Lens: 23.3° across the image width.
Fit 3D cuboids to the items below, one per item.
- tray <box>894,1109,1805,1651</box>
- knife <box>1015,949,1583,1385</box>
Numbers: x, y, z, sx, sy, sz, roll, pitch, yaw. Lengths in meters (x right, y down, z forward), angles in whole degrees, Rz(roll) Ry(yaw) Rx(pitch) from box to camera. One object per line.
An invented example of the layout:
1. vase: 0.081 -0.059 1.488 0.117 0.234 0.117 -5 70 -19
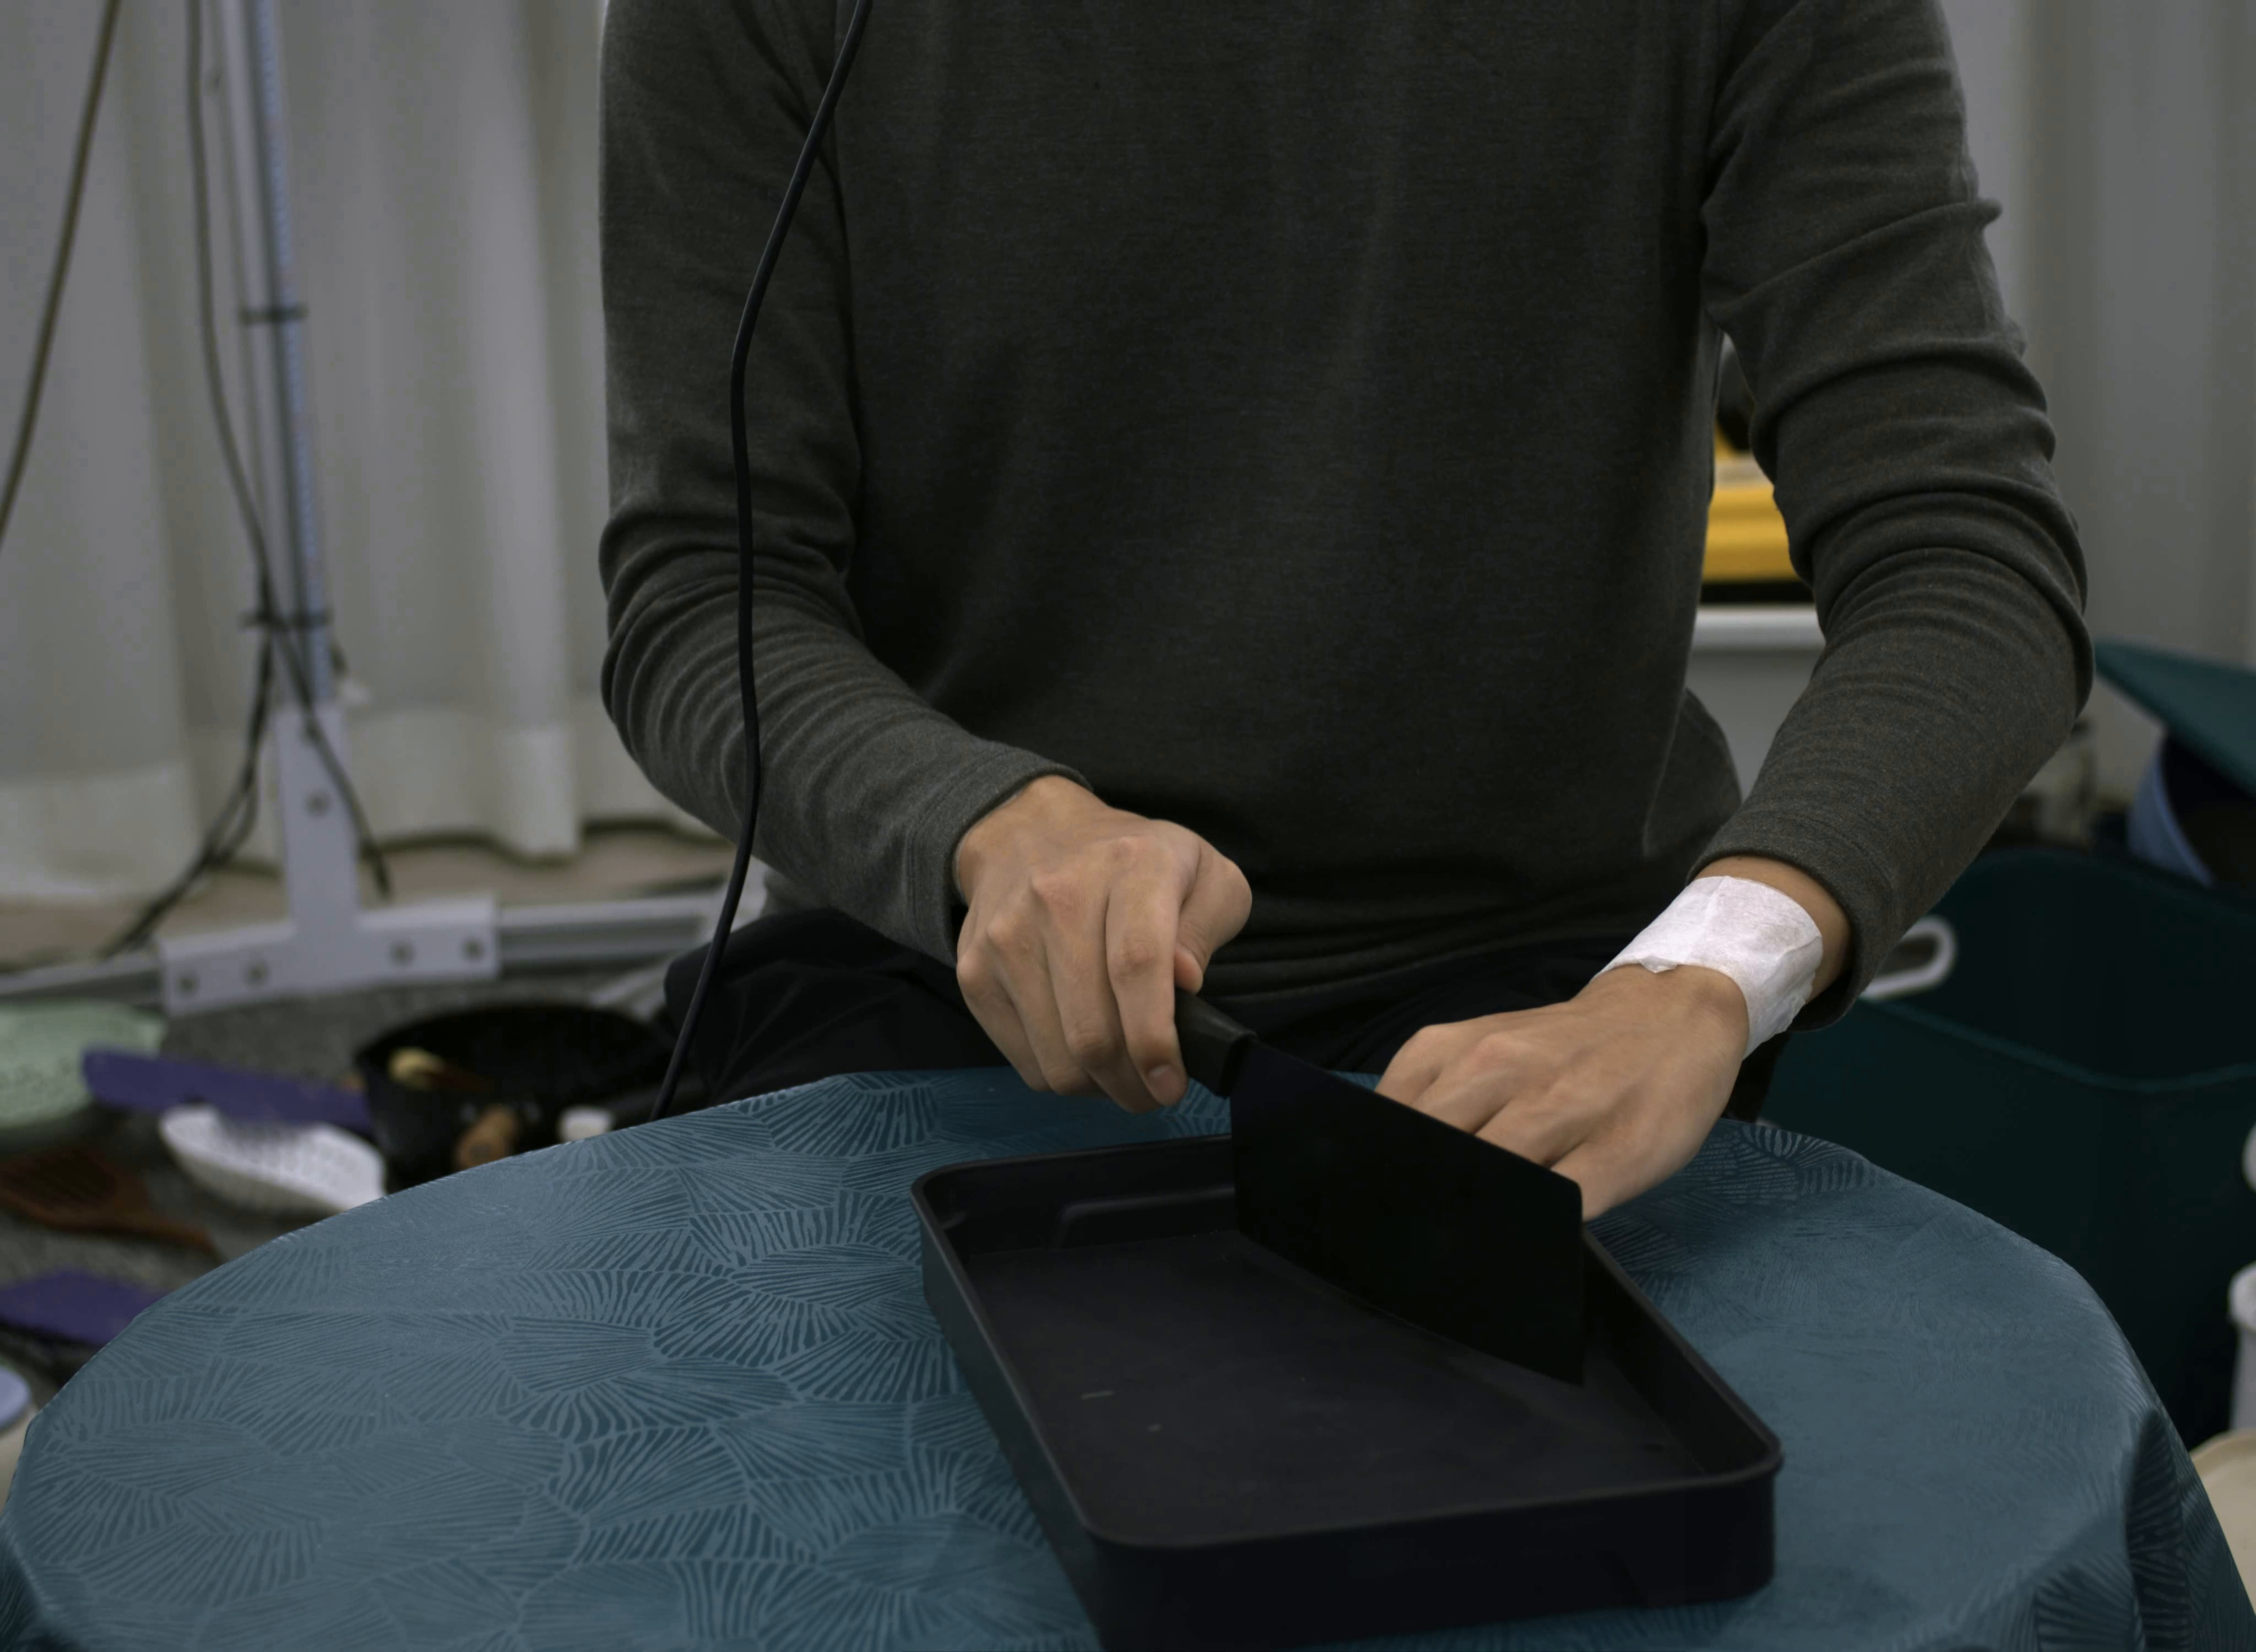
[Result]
1. tray: 0.052 0.149 1.507 0.183 0.037 0.320 -6 15 -12
2. knife: 0.047 0.093 1.608 0.021 0.080 0.305 -9 20 -29
